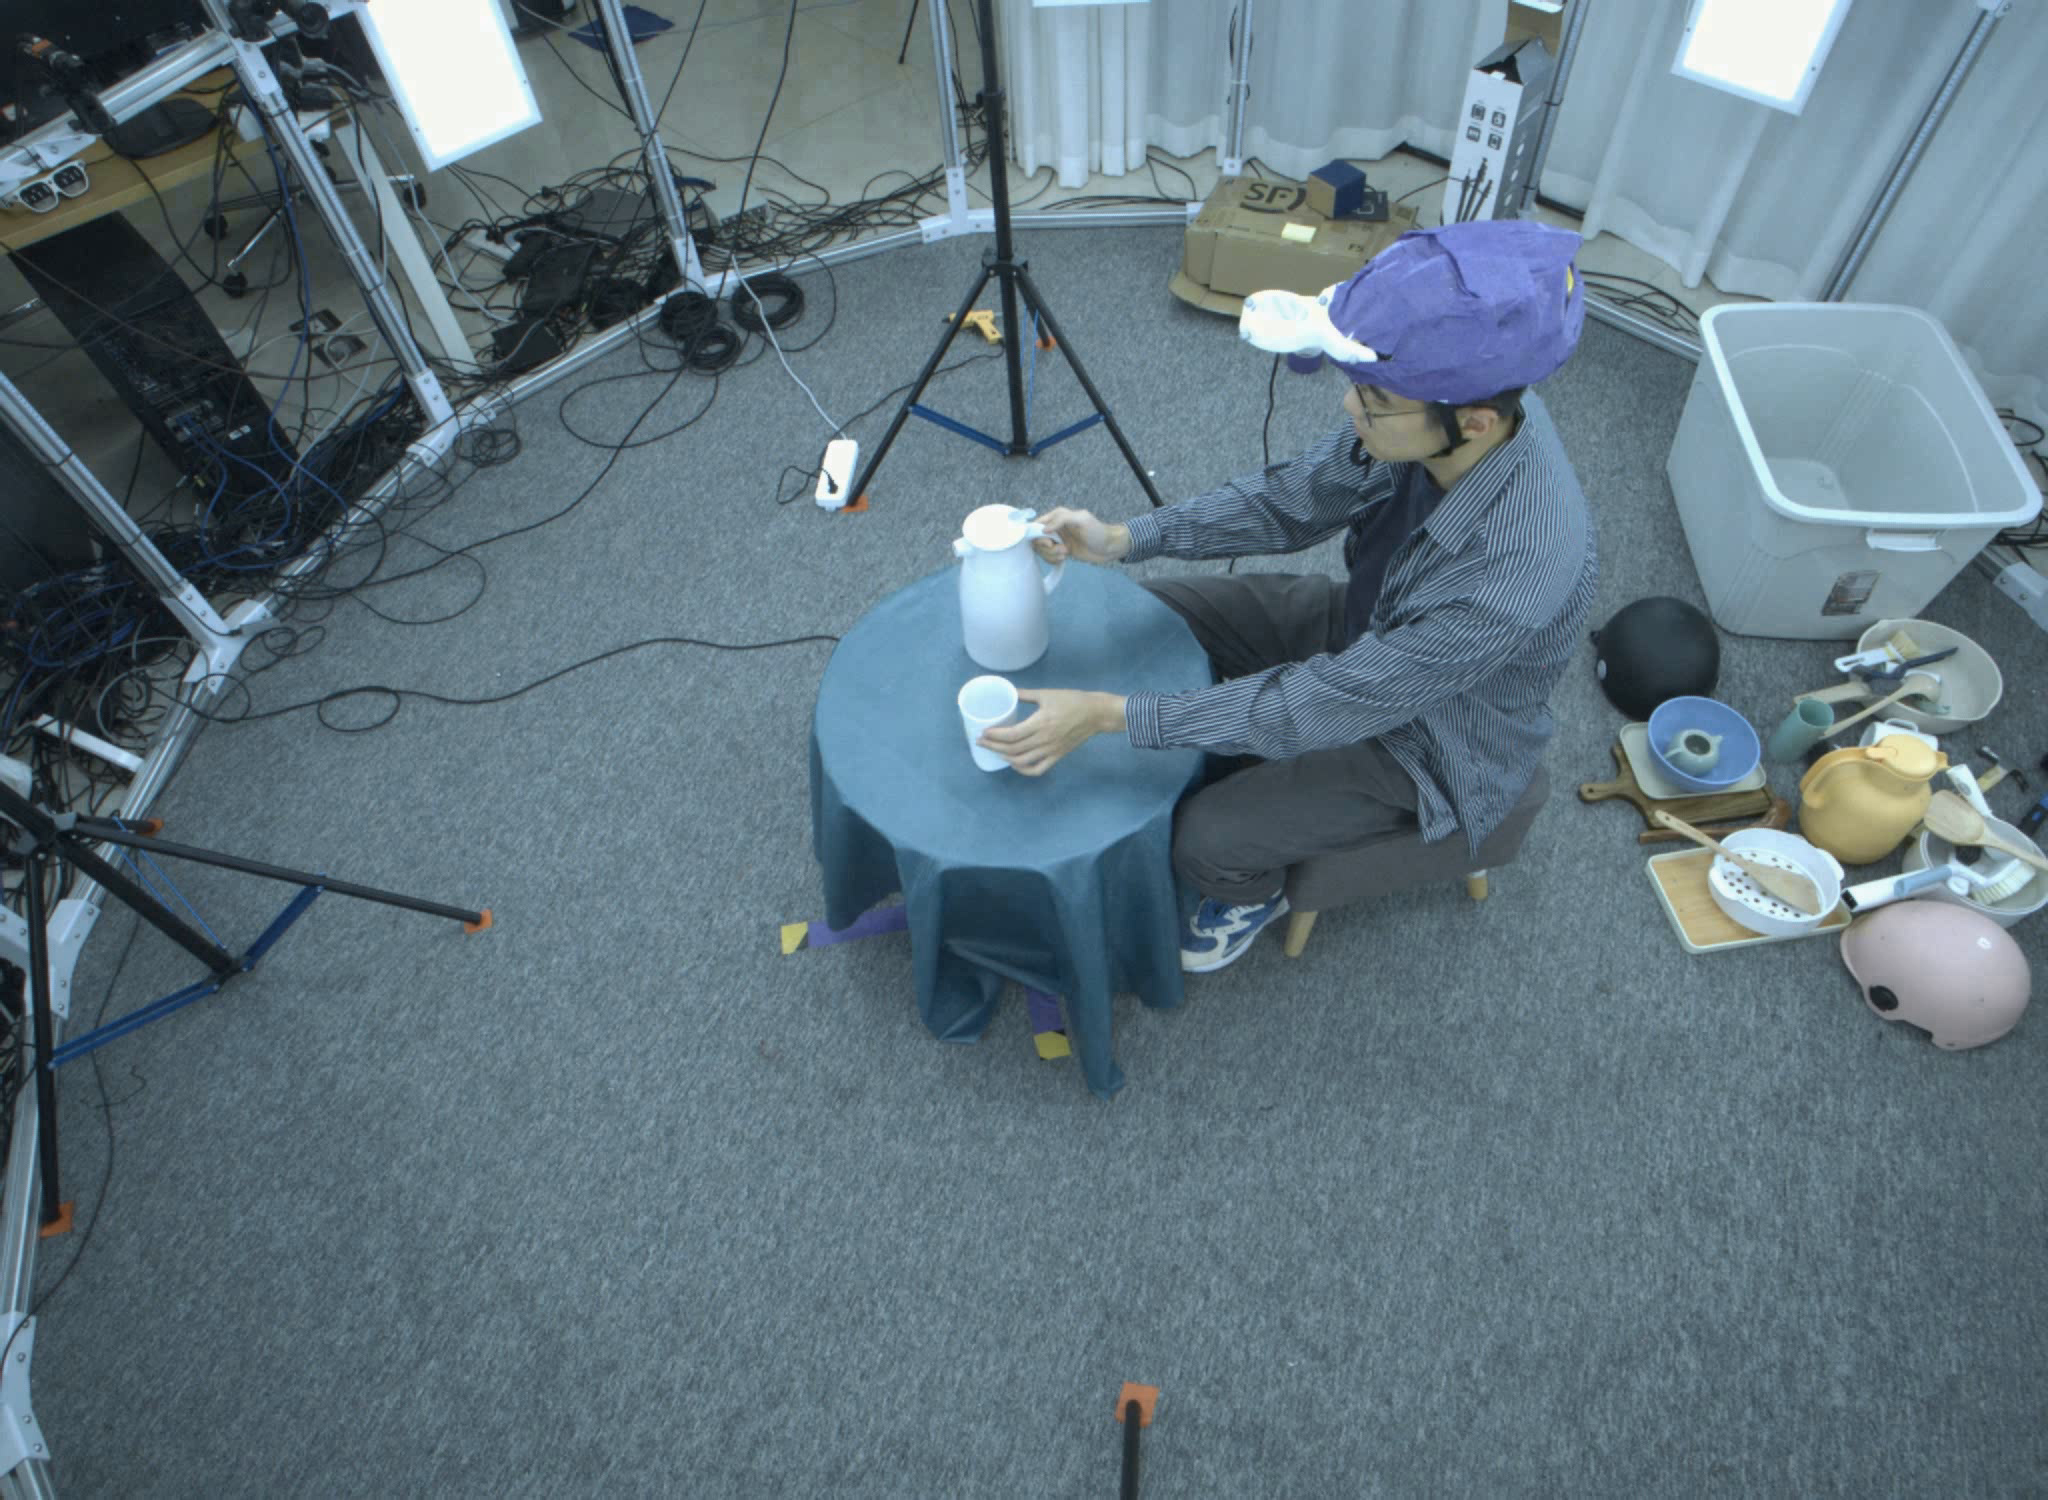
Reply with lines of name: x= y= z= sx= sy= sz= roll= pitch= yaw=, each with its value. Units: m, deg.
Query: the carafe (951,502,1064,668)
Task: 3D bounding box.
carafe: x=-0.018 y=-0.258 z=1.817 sx=0.169 sy=0.252 sz=0.130 roll=-27 pitch=55 yaw=-13

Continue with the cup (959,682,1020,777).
cup: x=-0.045 y=-0.025 z=1.730 sx=0.081 sy=0.127 sz=0.081 roll=-1 pitch=53 yaw=3
